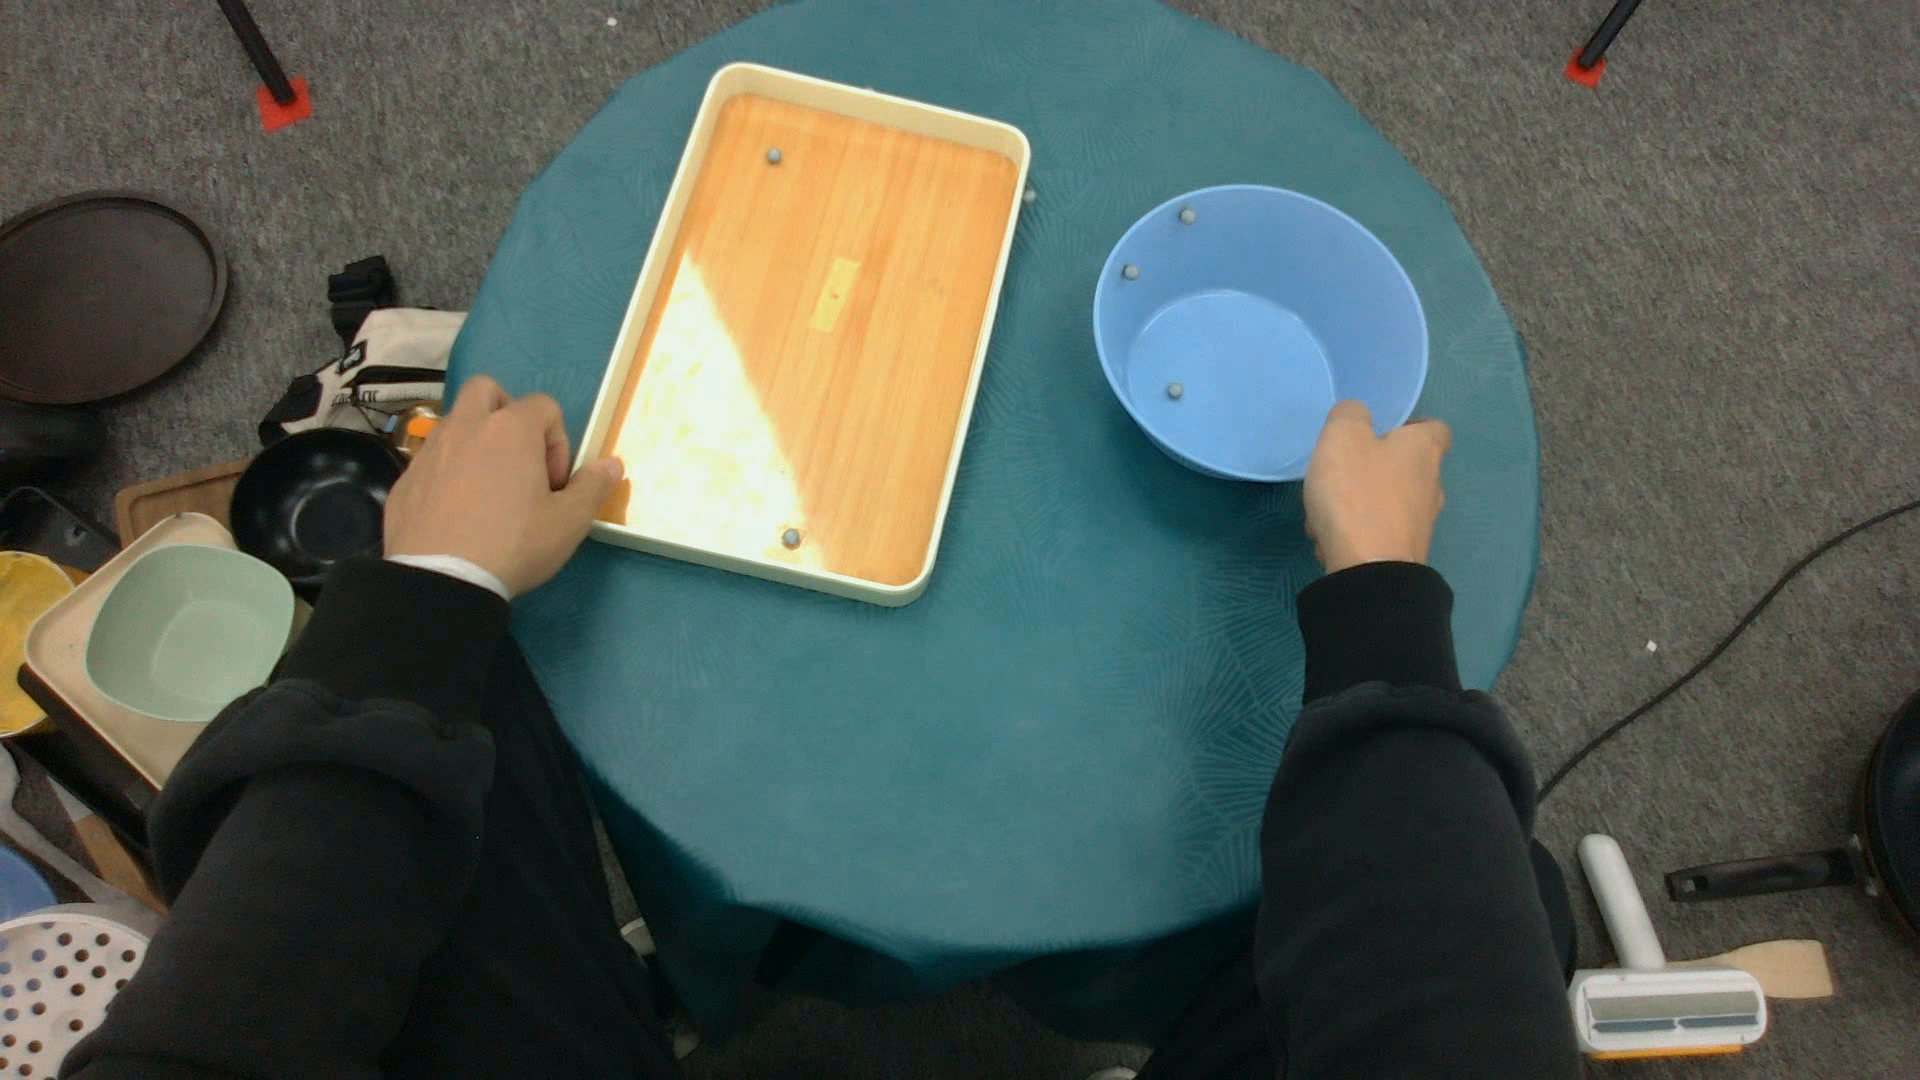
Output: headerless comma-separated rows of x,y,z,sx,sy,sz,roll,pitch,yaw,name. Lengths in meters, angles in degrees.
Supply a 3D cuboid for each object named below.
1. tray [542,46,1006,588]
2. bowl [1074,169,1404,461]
-0.093,-0.130,0.754,0.191,0.027,0.301,13,67,-1,tray
0.143,-0.109,0.745,0.176,0.070,0.176,2,67,-5,bowl
